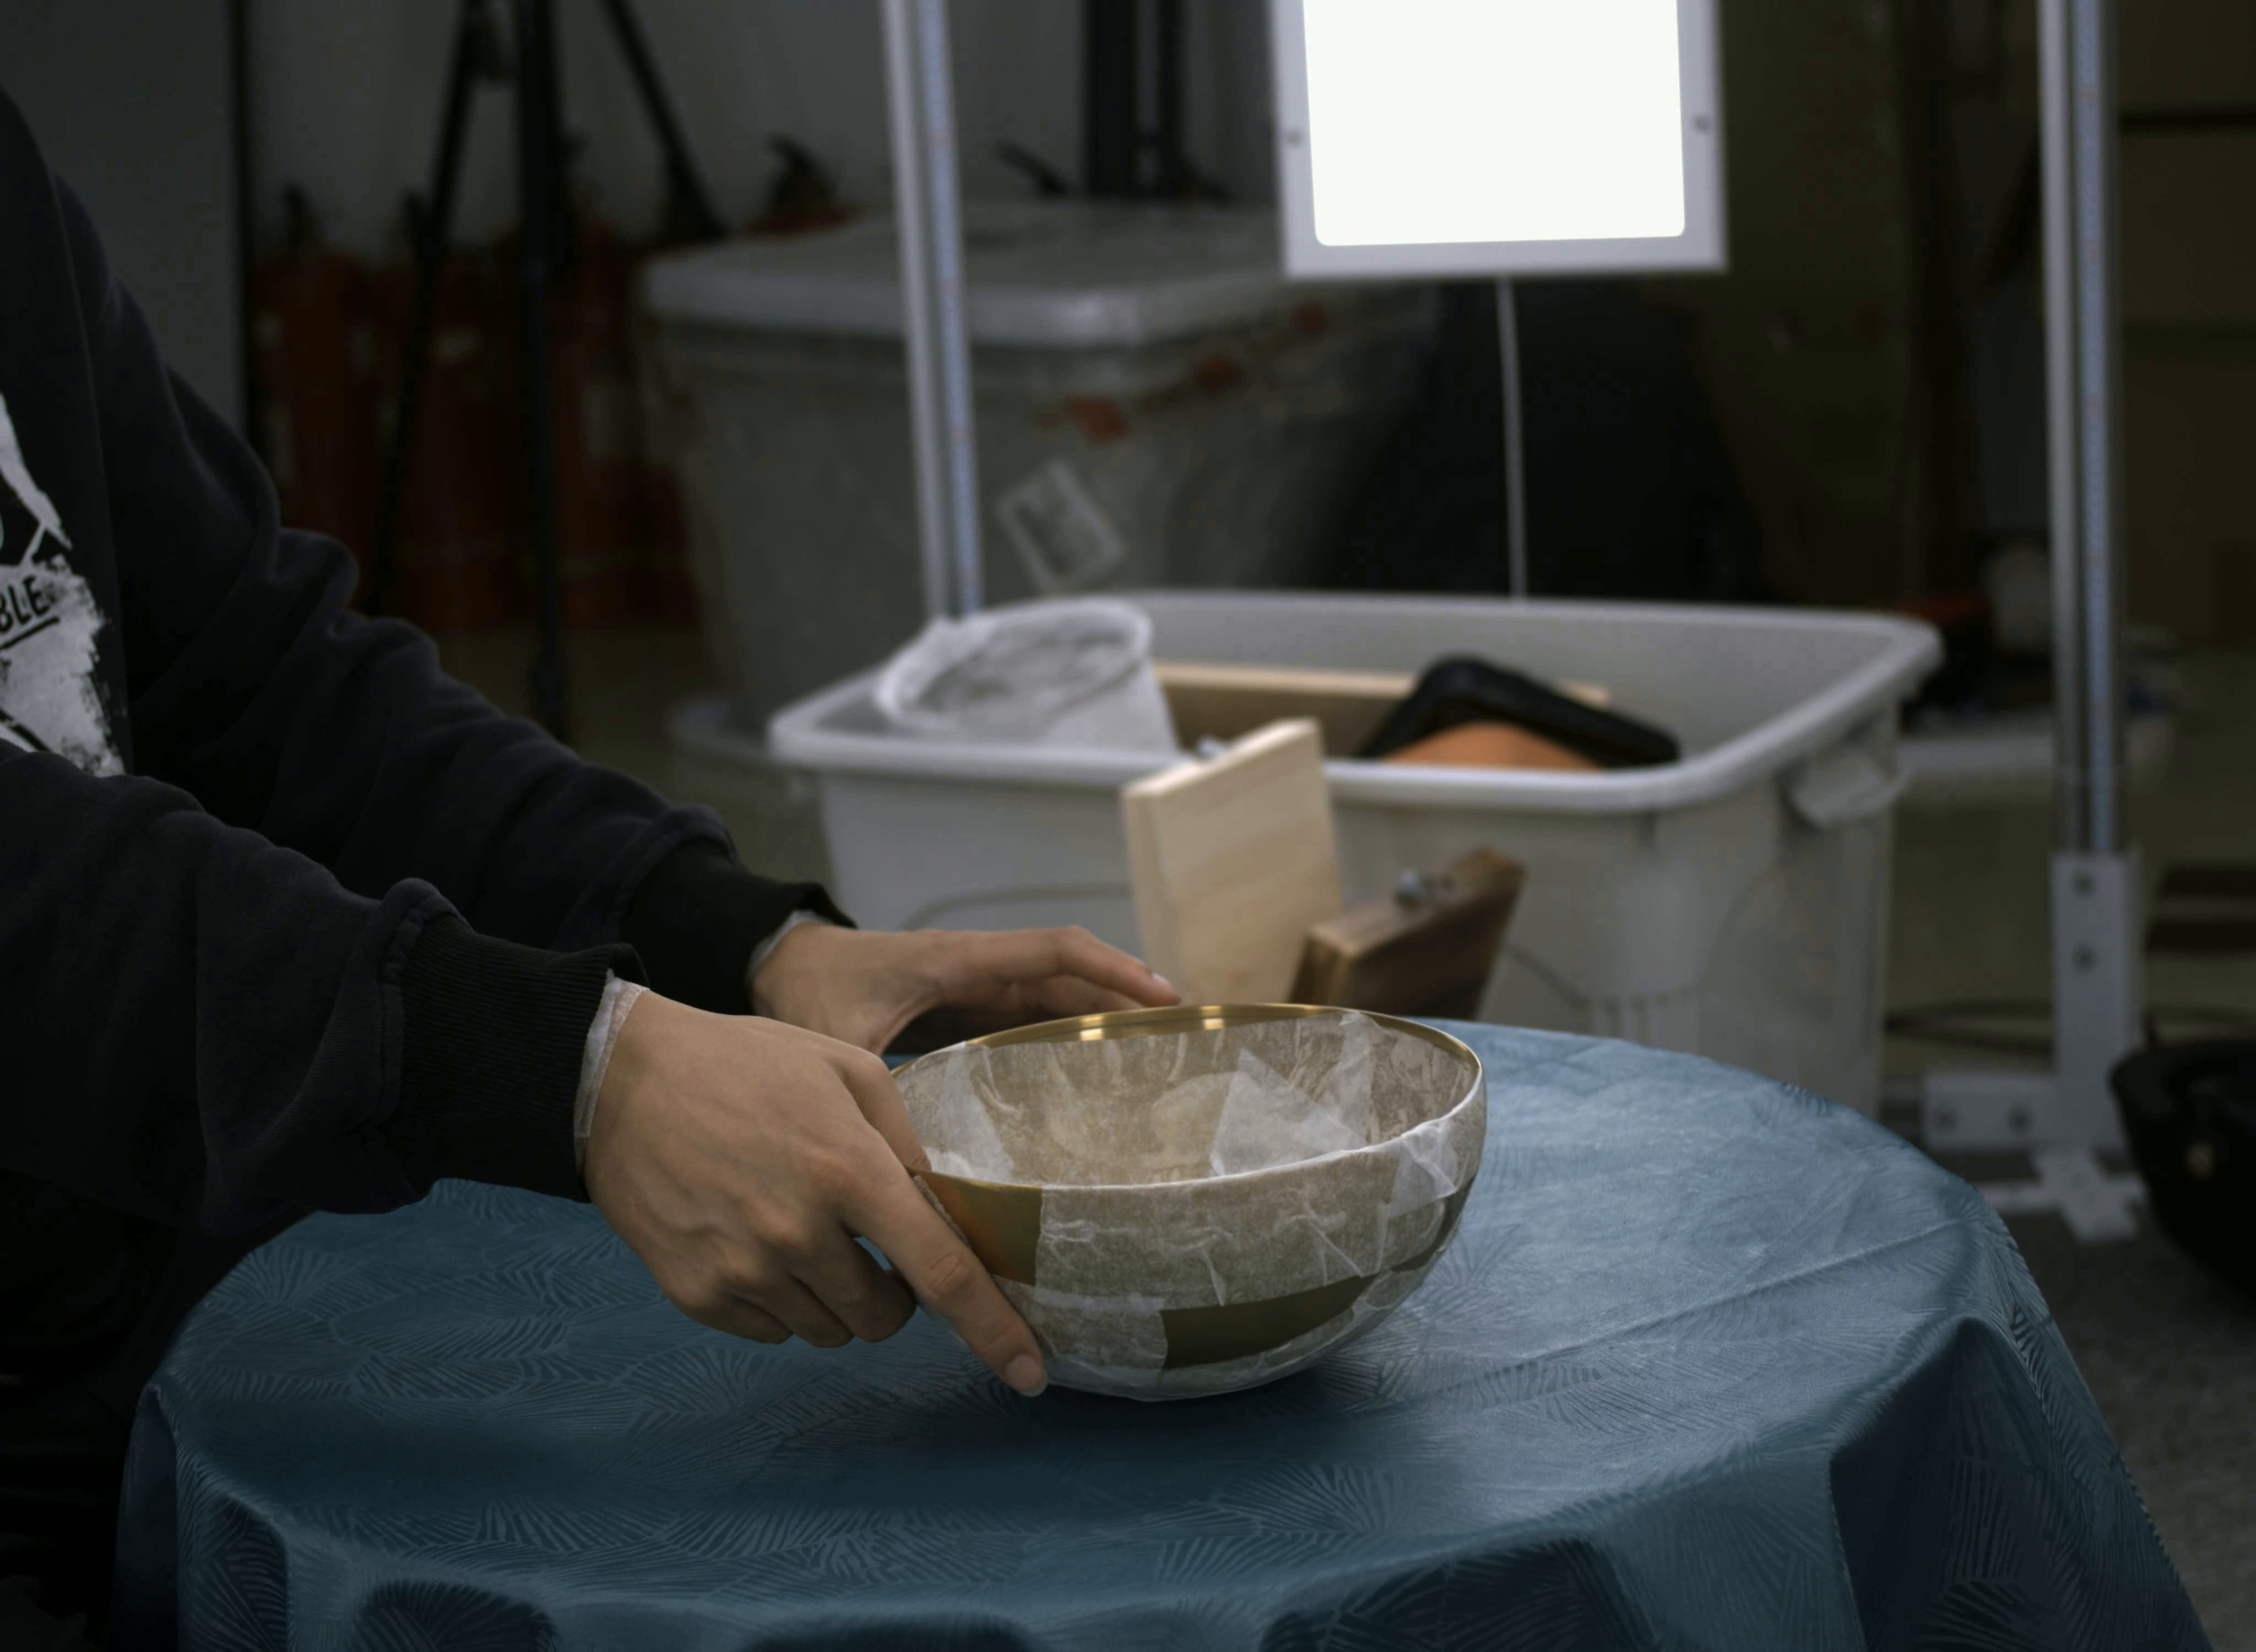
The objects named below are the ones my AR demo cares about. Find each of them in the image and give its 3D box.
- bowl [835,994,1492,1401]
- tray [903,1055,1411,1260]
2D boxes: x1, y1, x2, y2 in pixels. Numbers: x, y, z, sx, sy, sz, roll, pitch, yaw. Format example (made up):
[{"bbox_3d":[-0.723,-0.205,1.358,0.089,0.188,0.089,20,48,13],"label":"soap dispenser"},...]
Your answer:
[{"bbox_3d":[0.015,0.122,1.713,0.214,0.095,0.214,-6,14,0],"label":"bowl"},{"bbox_3d":[0.008,0.114,1.914,0.099,0.020,0.236,-16,19,-31],"label":"tray"}]
